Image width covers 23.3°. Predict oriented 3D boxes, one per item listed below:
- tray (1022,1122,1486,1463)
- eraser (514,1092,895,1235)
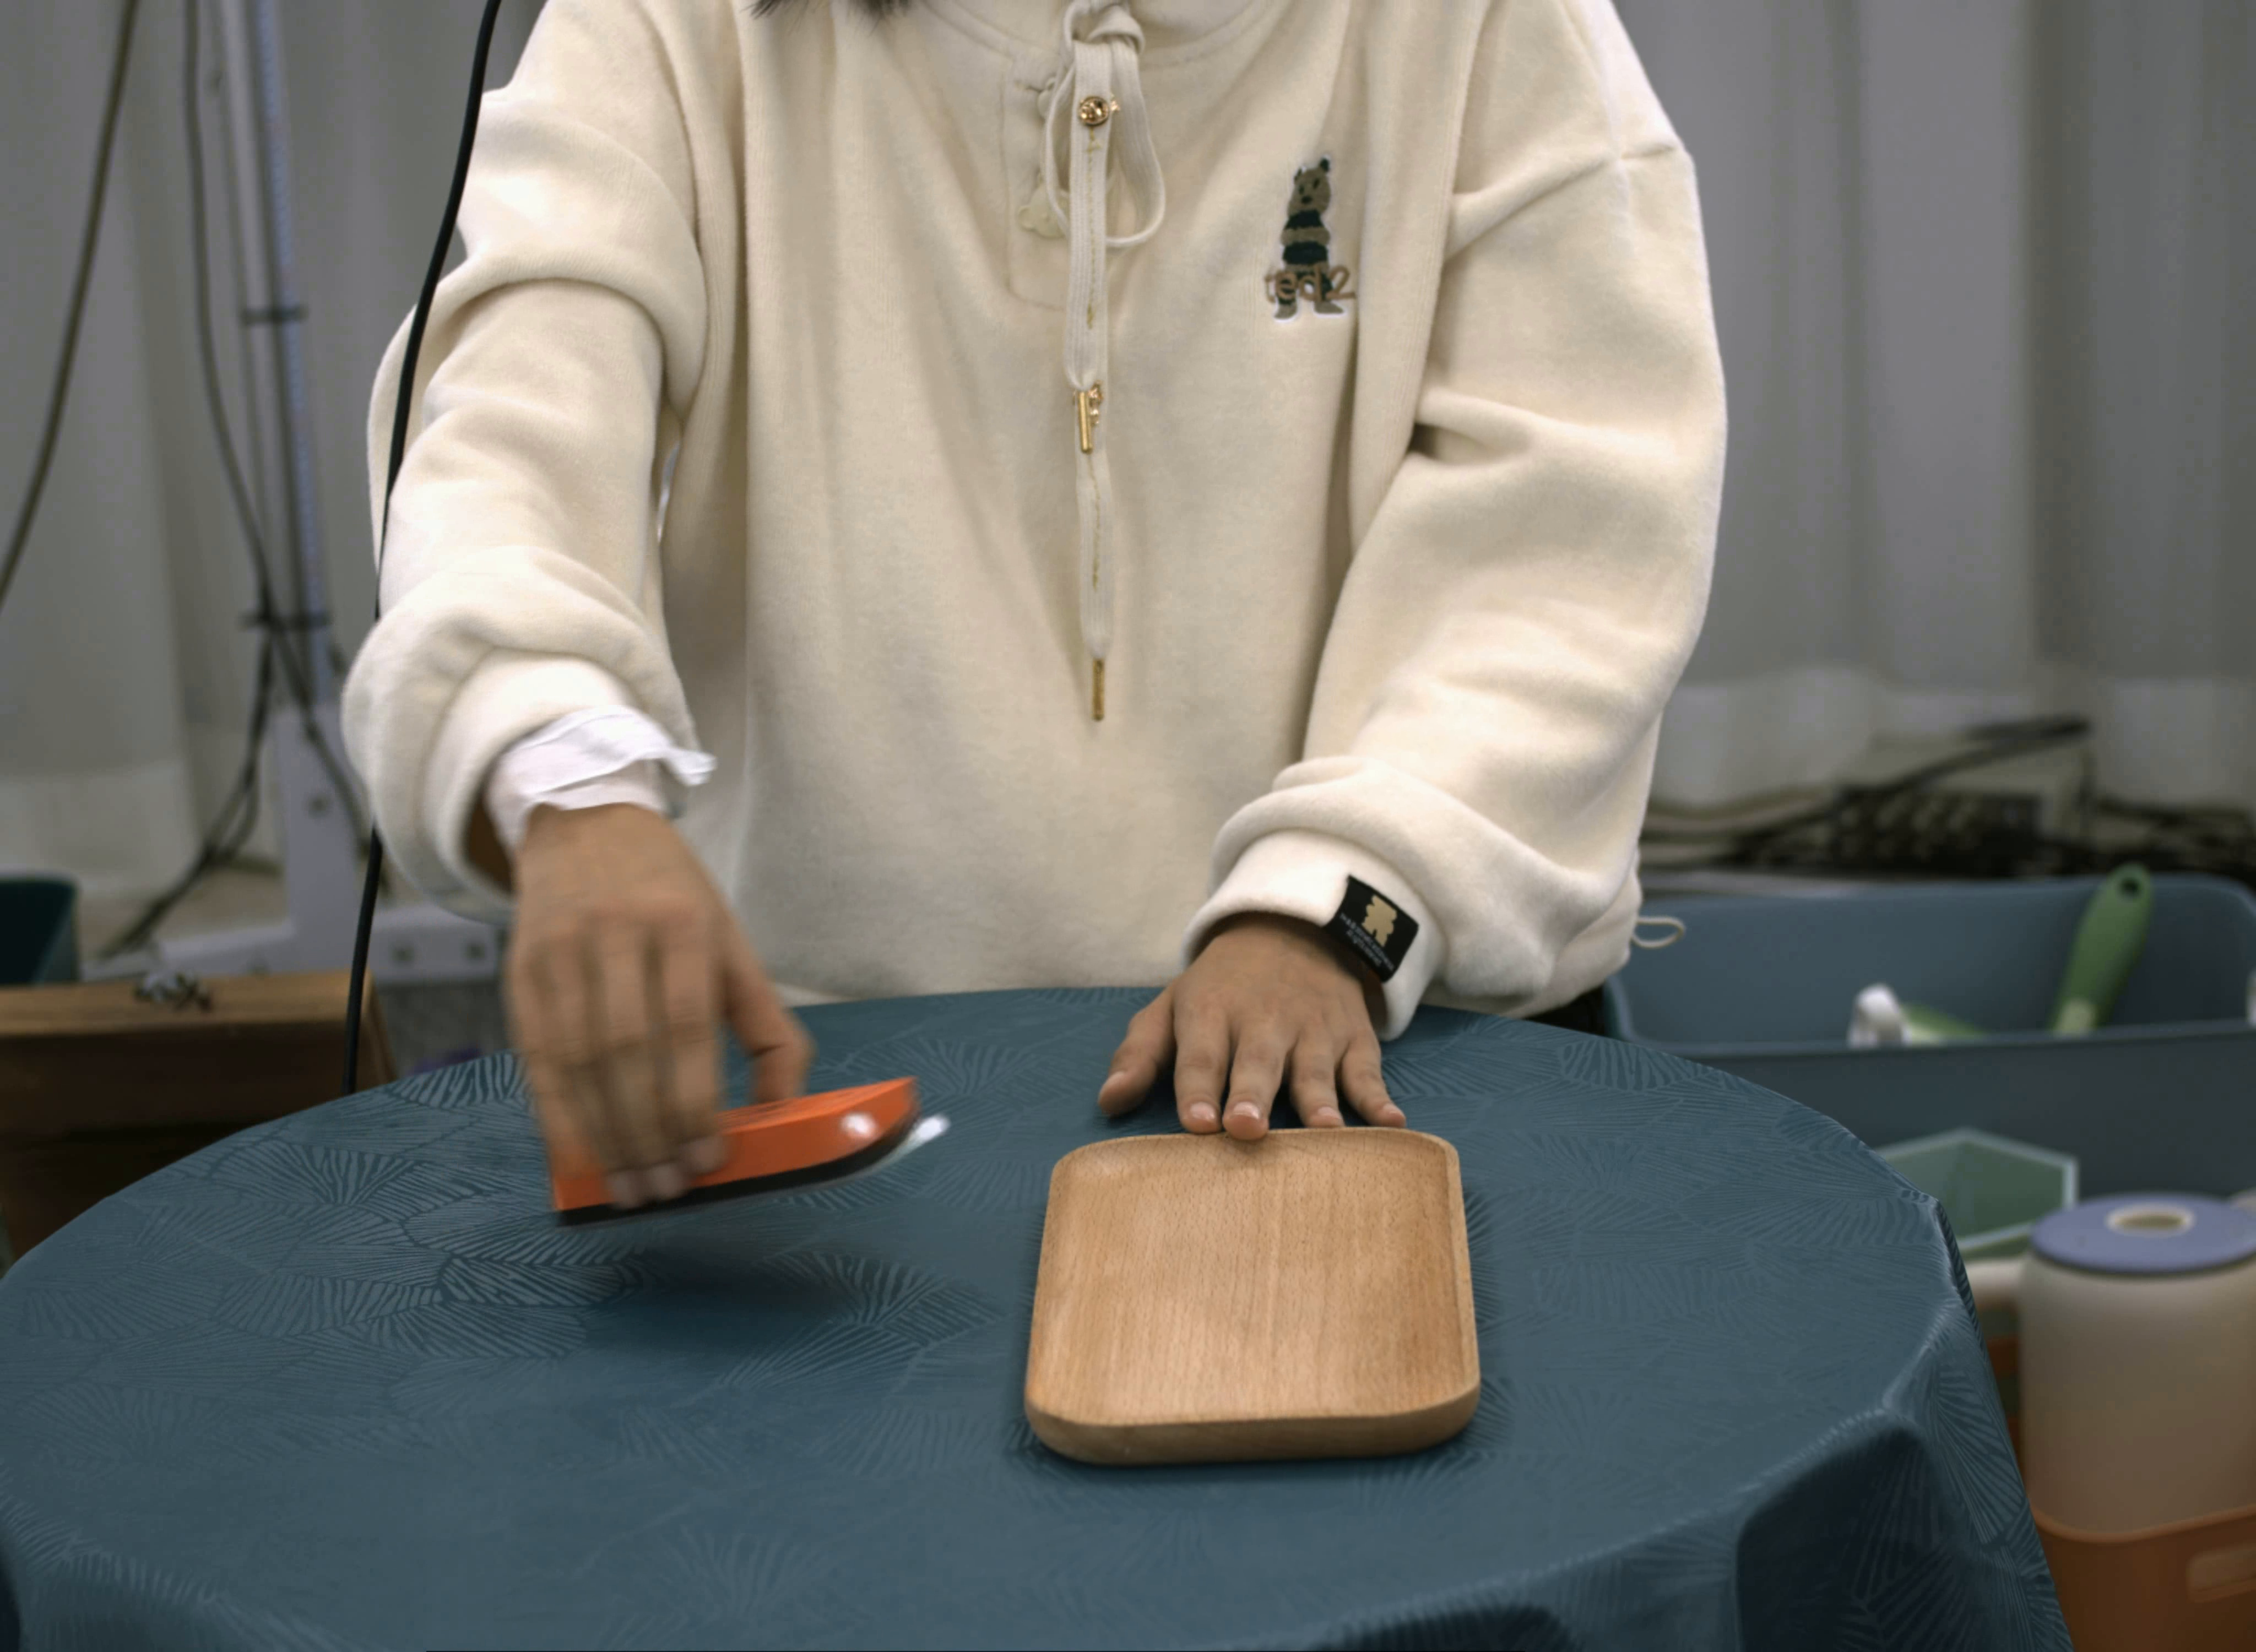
[{"bbox_3d":[0.039,0.134,1.599,0.130,0.023,0.252,1,15,3],"label":"tray"},{"bbox_3d":[-0.127,0.102,1.642,0.108,0.023,0.059,-10,4,29],"label":"eraser"}]
